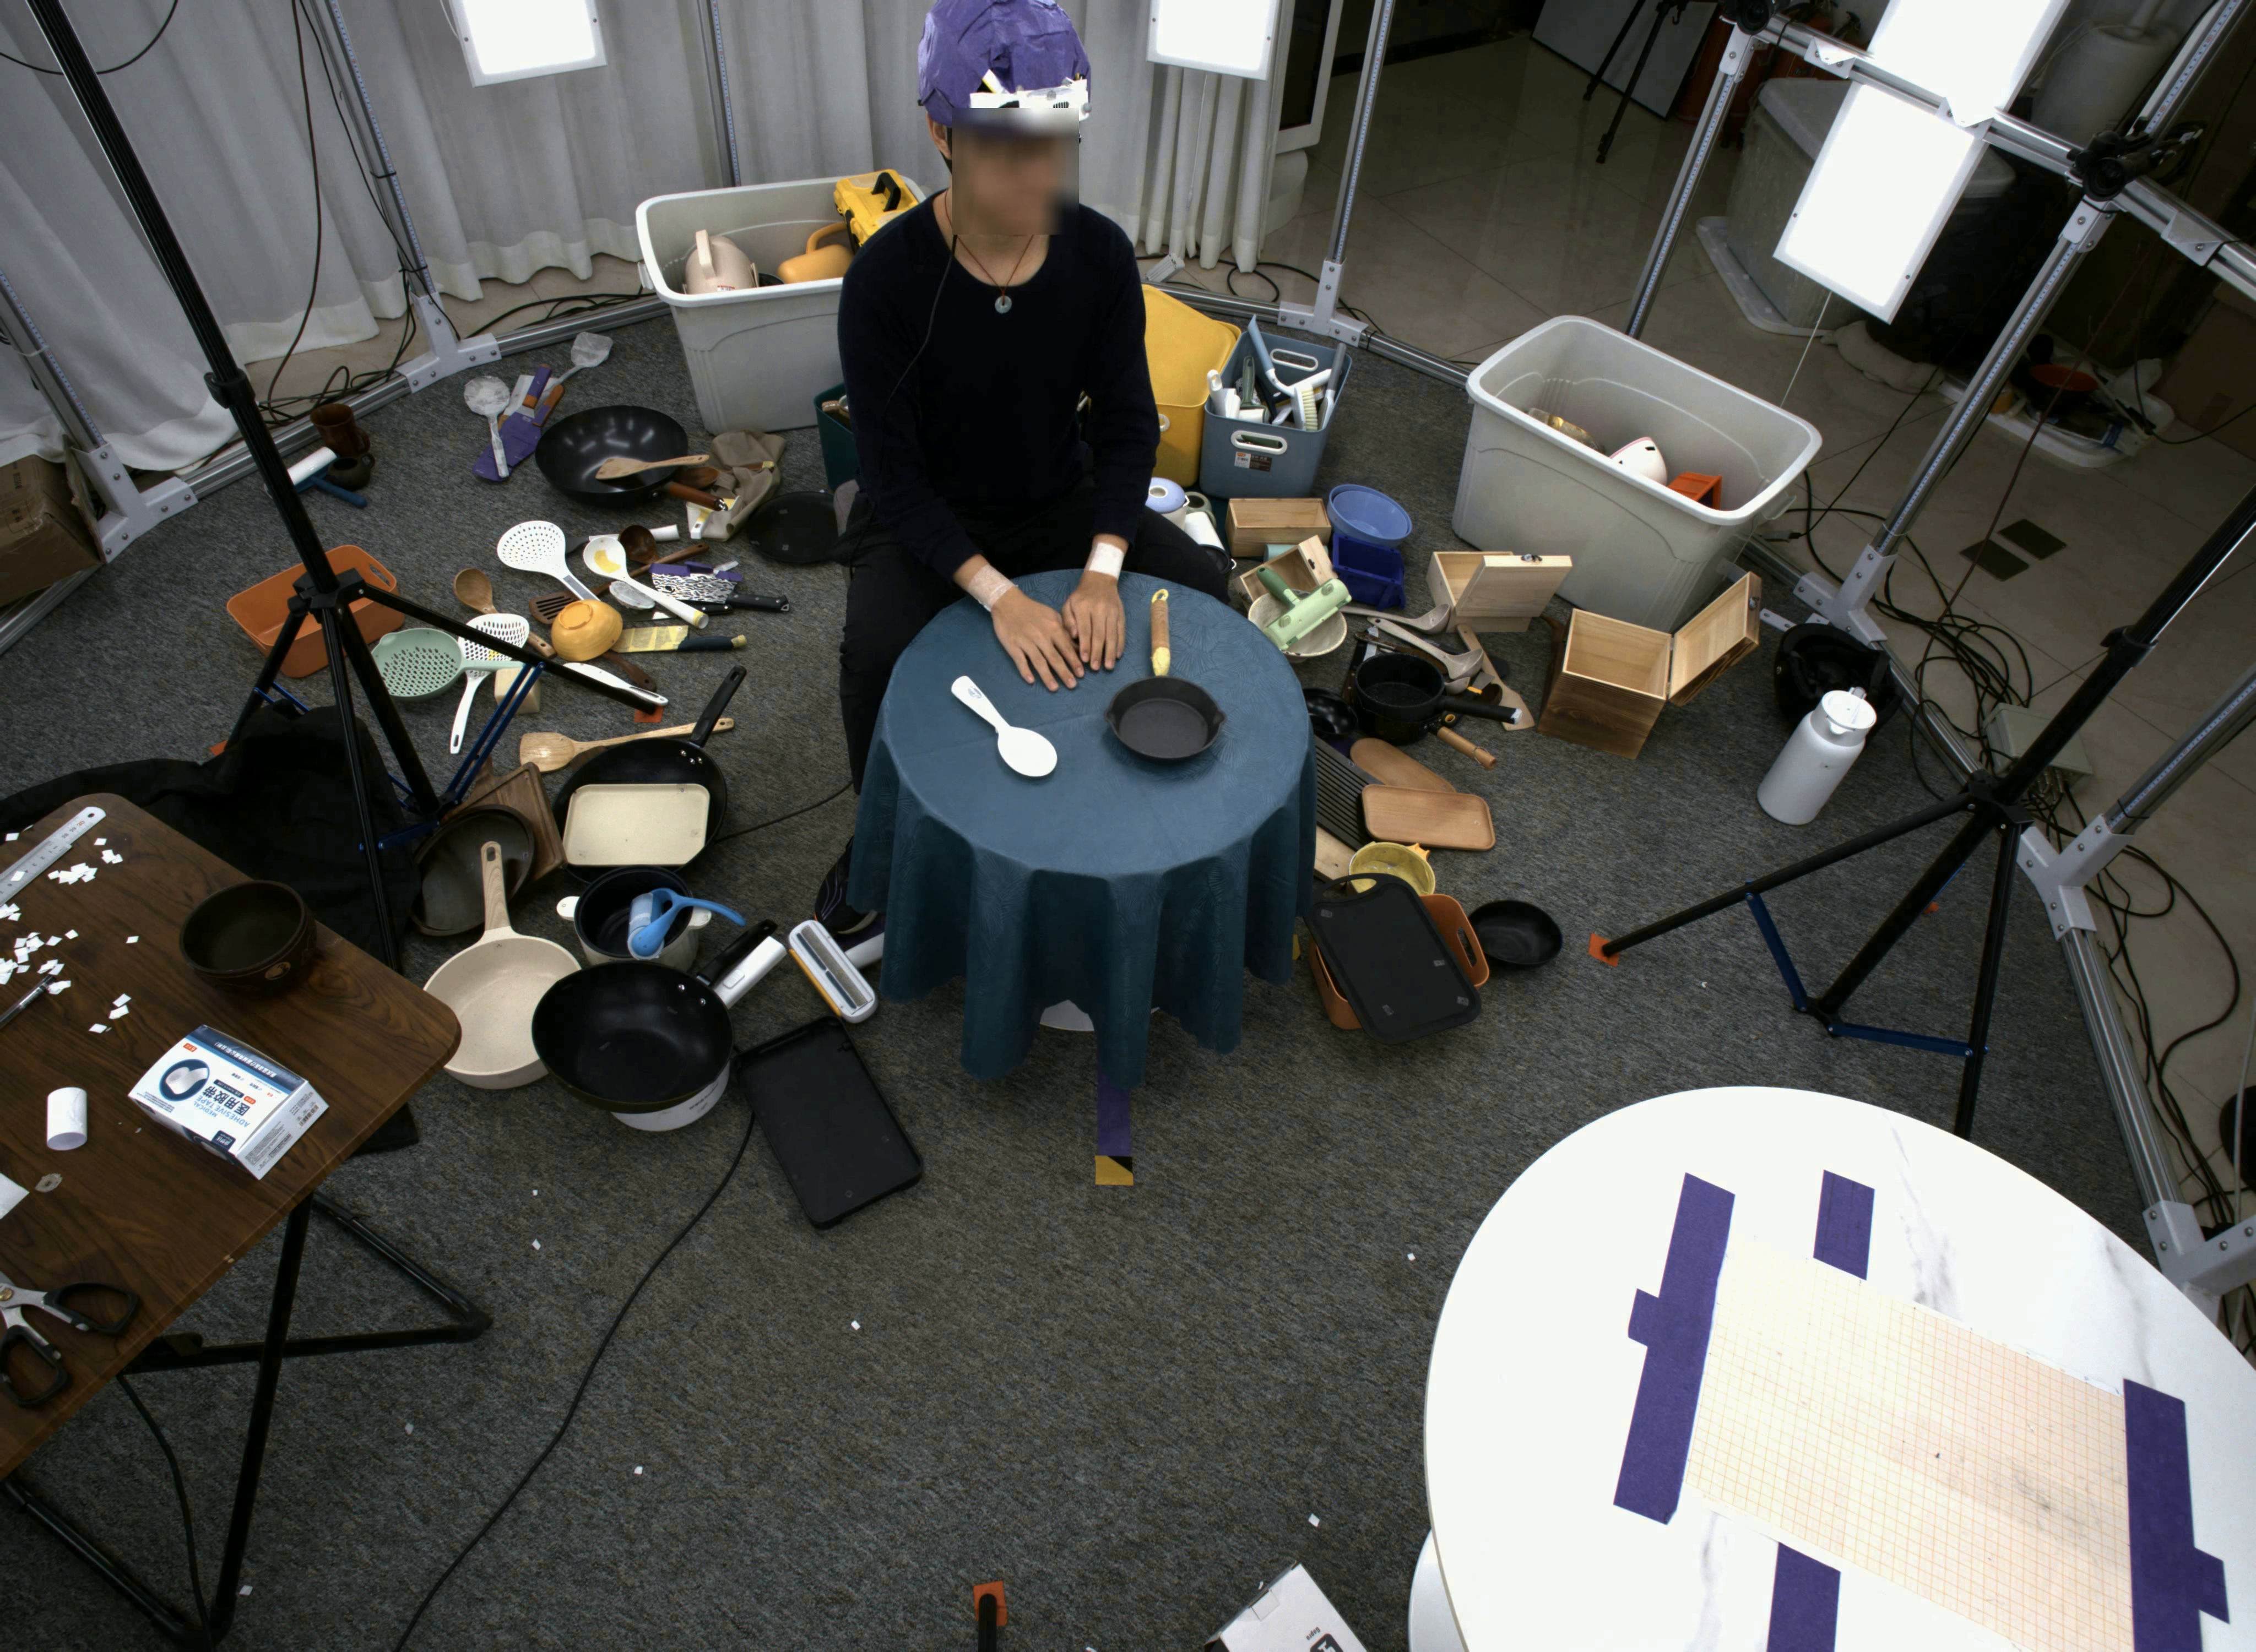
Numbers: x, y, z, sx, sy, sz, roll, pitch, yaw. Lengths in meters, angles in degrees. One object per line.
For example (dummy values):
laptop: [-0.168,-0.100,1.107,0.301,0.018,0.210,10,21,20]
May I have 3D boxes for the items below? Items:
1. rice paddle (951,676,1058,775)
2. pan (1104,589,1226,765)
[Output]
rice paddle: [-0.171,-0.137,1.757,0.069,0.029,0.209,-31,57,-25]
pan: [0.051,-0.213,1.825,0.169,0.048,0.332,2,50,-2]
